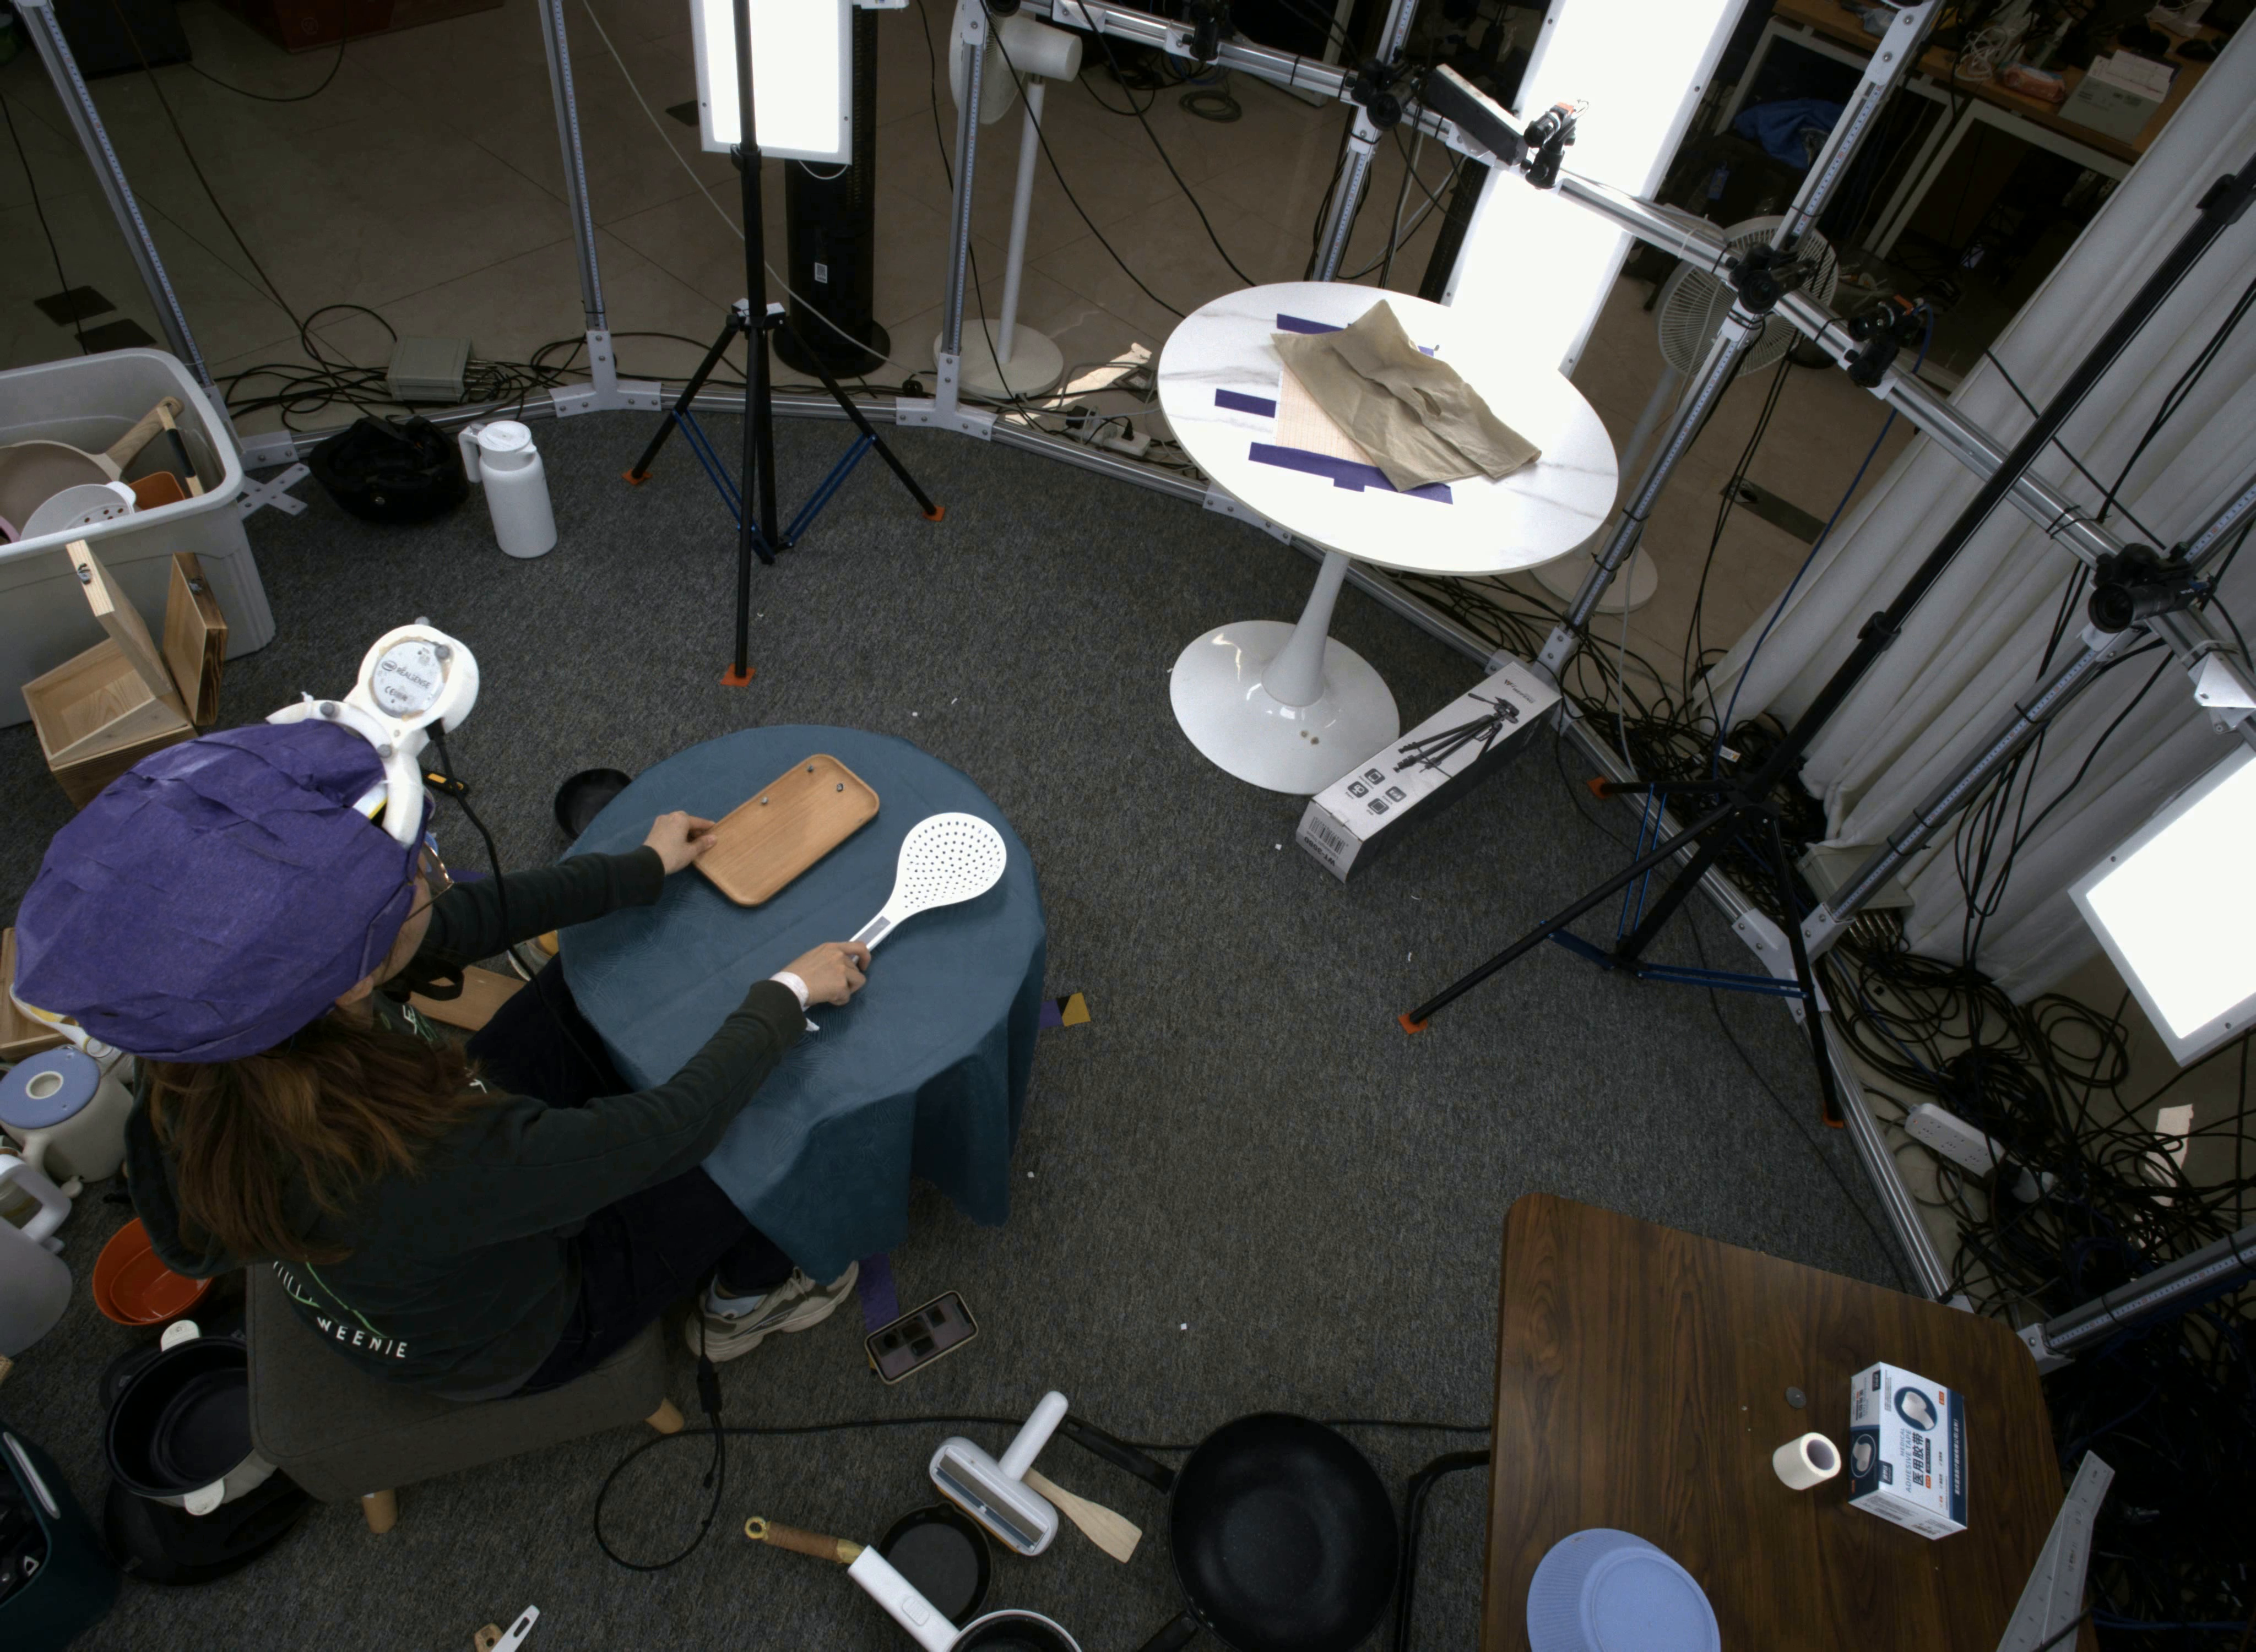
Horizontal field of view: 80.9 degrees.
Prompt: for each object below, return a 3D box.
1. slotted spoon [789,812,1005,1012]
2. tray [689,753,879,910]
[{"bbox_3d":[-0.295,0.107,1.653,0.133,0.047,0.350,35,54,16],"label":"slotted spoon"},{"bbox_3d":[-0.450,0.003,1.704,0.128,0.023,0.250,39,55,12],"label":"tray"}]
